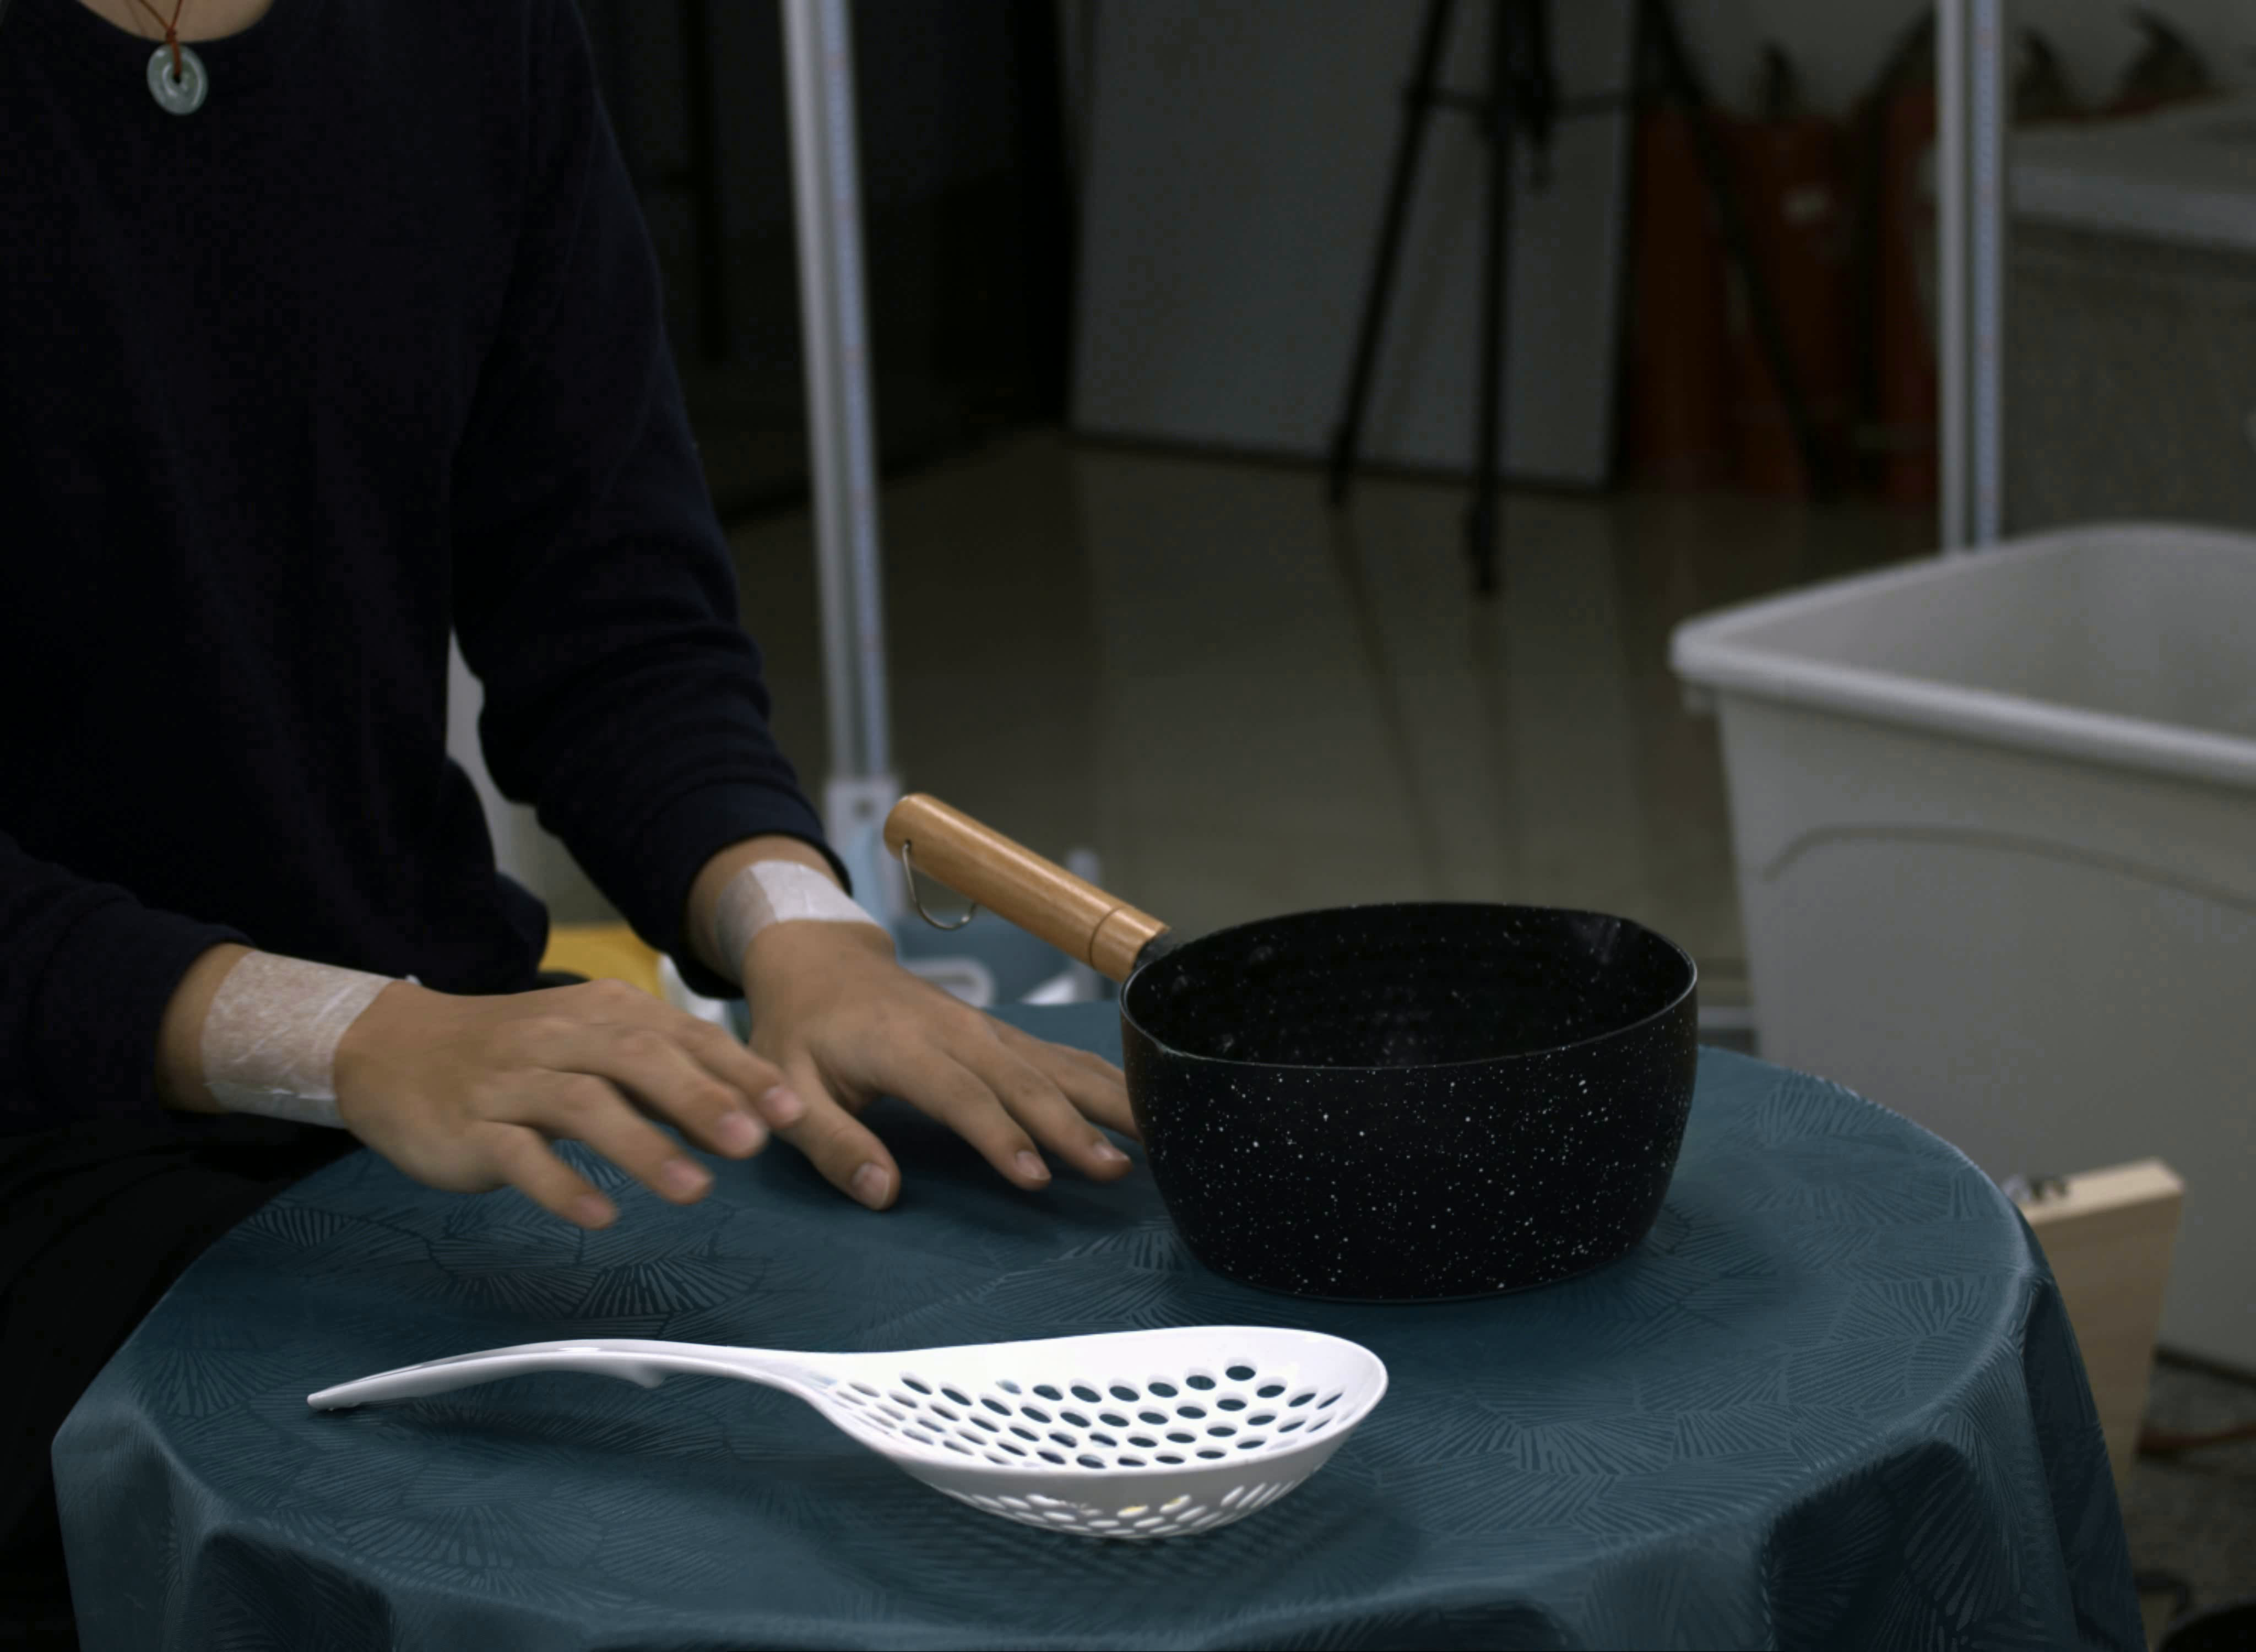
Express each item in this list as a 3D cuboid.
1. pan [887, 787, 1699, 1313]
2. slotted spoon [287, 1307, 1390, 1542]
[{"bbox_3d":[0.036,0.066,1.758,0.203,0.109,0.346,-17,20,-39],"label":"pan"},{"bbox_3d":[-0.091,0.164,1.530,0.349,0.051,0.135,5,15,28],"label":"slotted spoon"}]
